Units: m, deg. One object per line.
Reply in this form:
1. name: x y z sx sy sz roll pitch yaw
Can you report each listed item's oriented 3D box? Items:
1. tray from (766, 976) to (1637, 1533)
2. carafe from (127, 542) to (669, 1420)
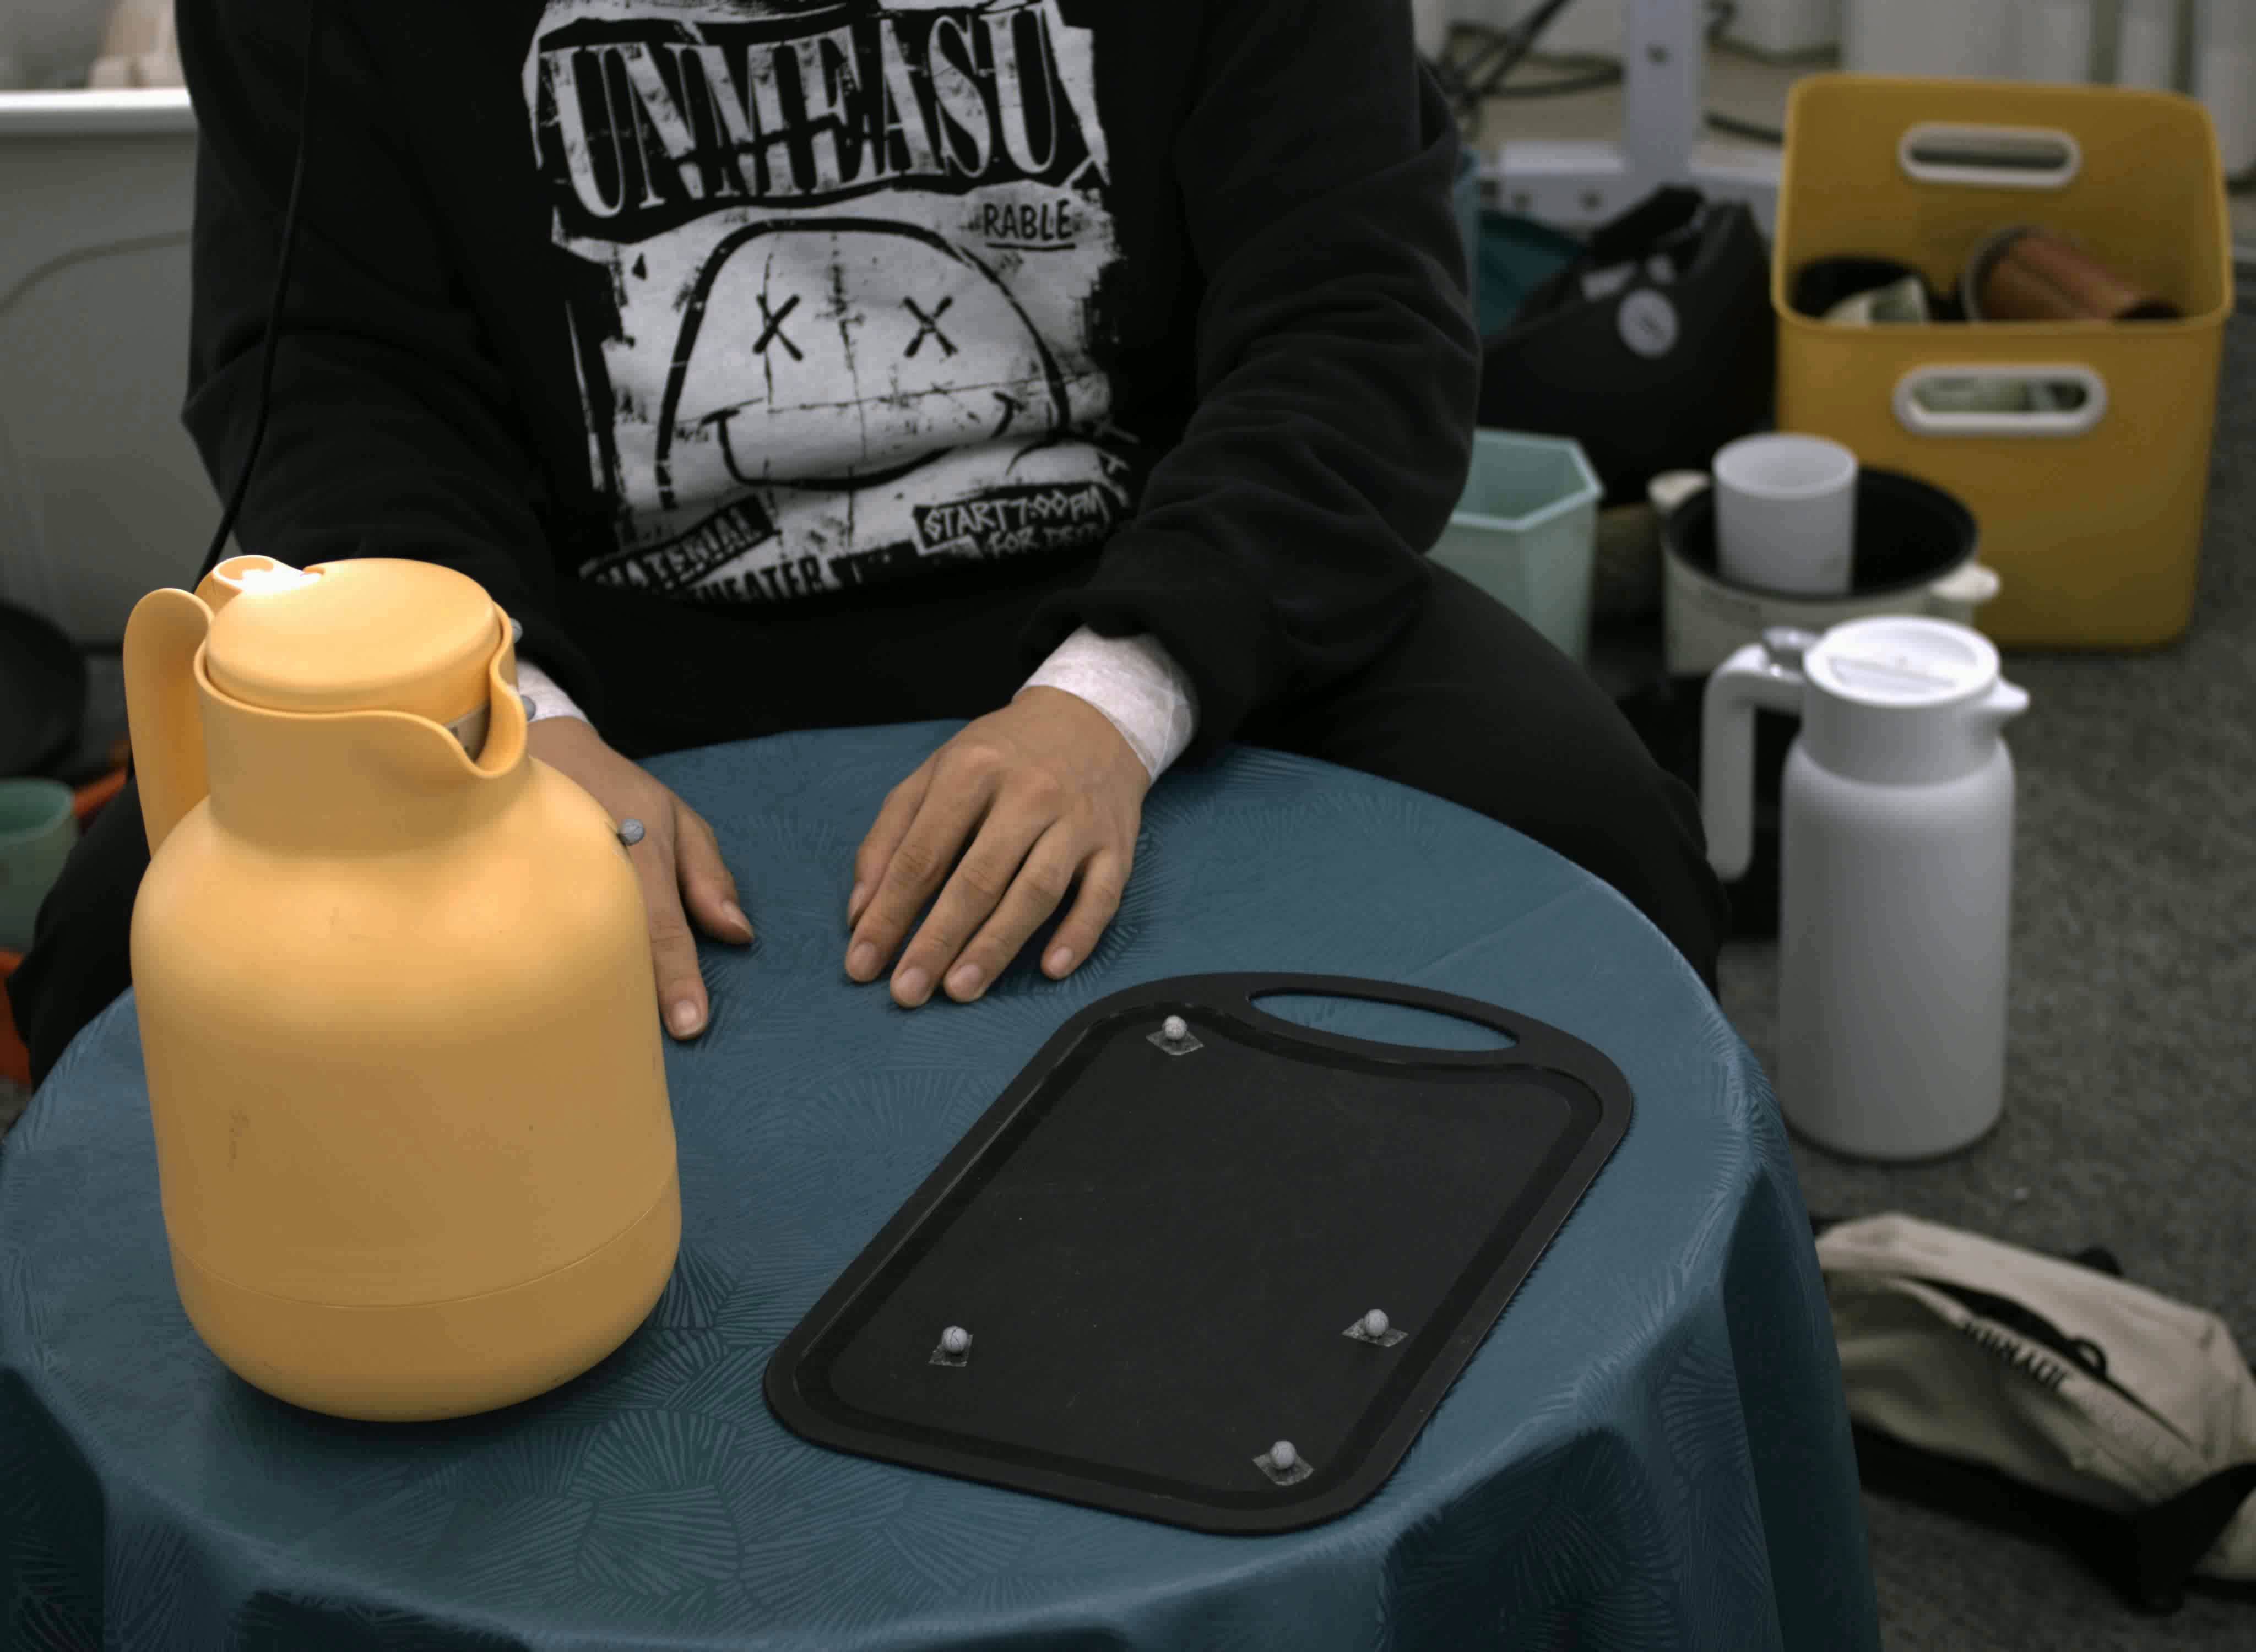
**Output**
1. tray: 0.032 0.128 1.836 0.210 0.009 0.331 10 30 23
2. carafe: -0.241 0.038 1.763 0.165 0.258 0.202 -20 32 -35
